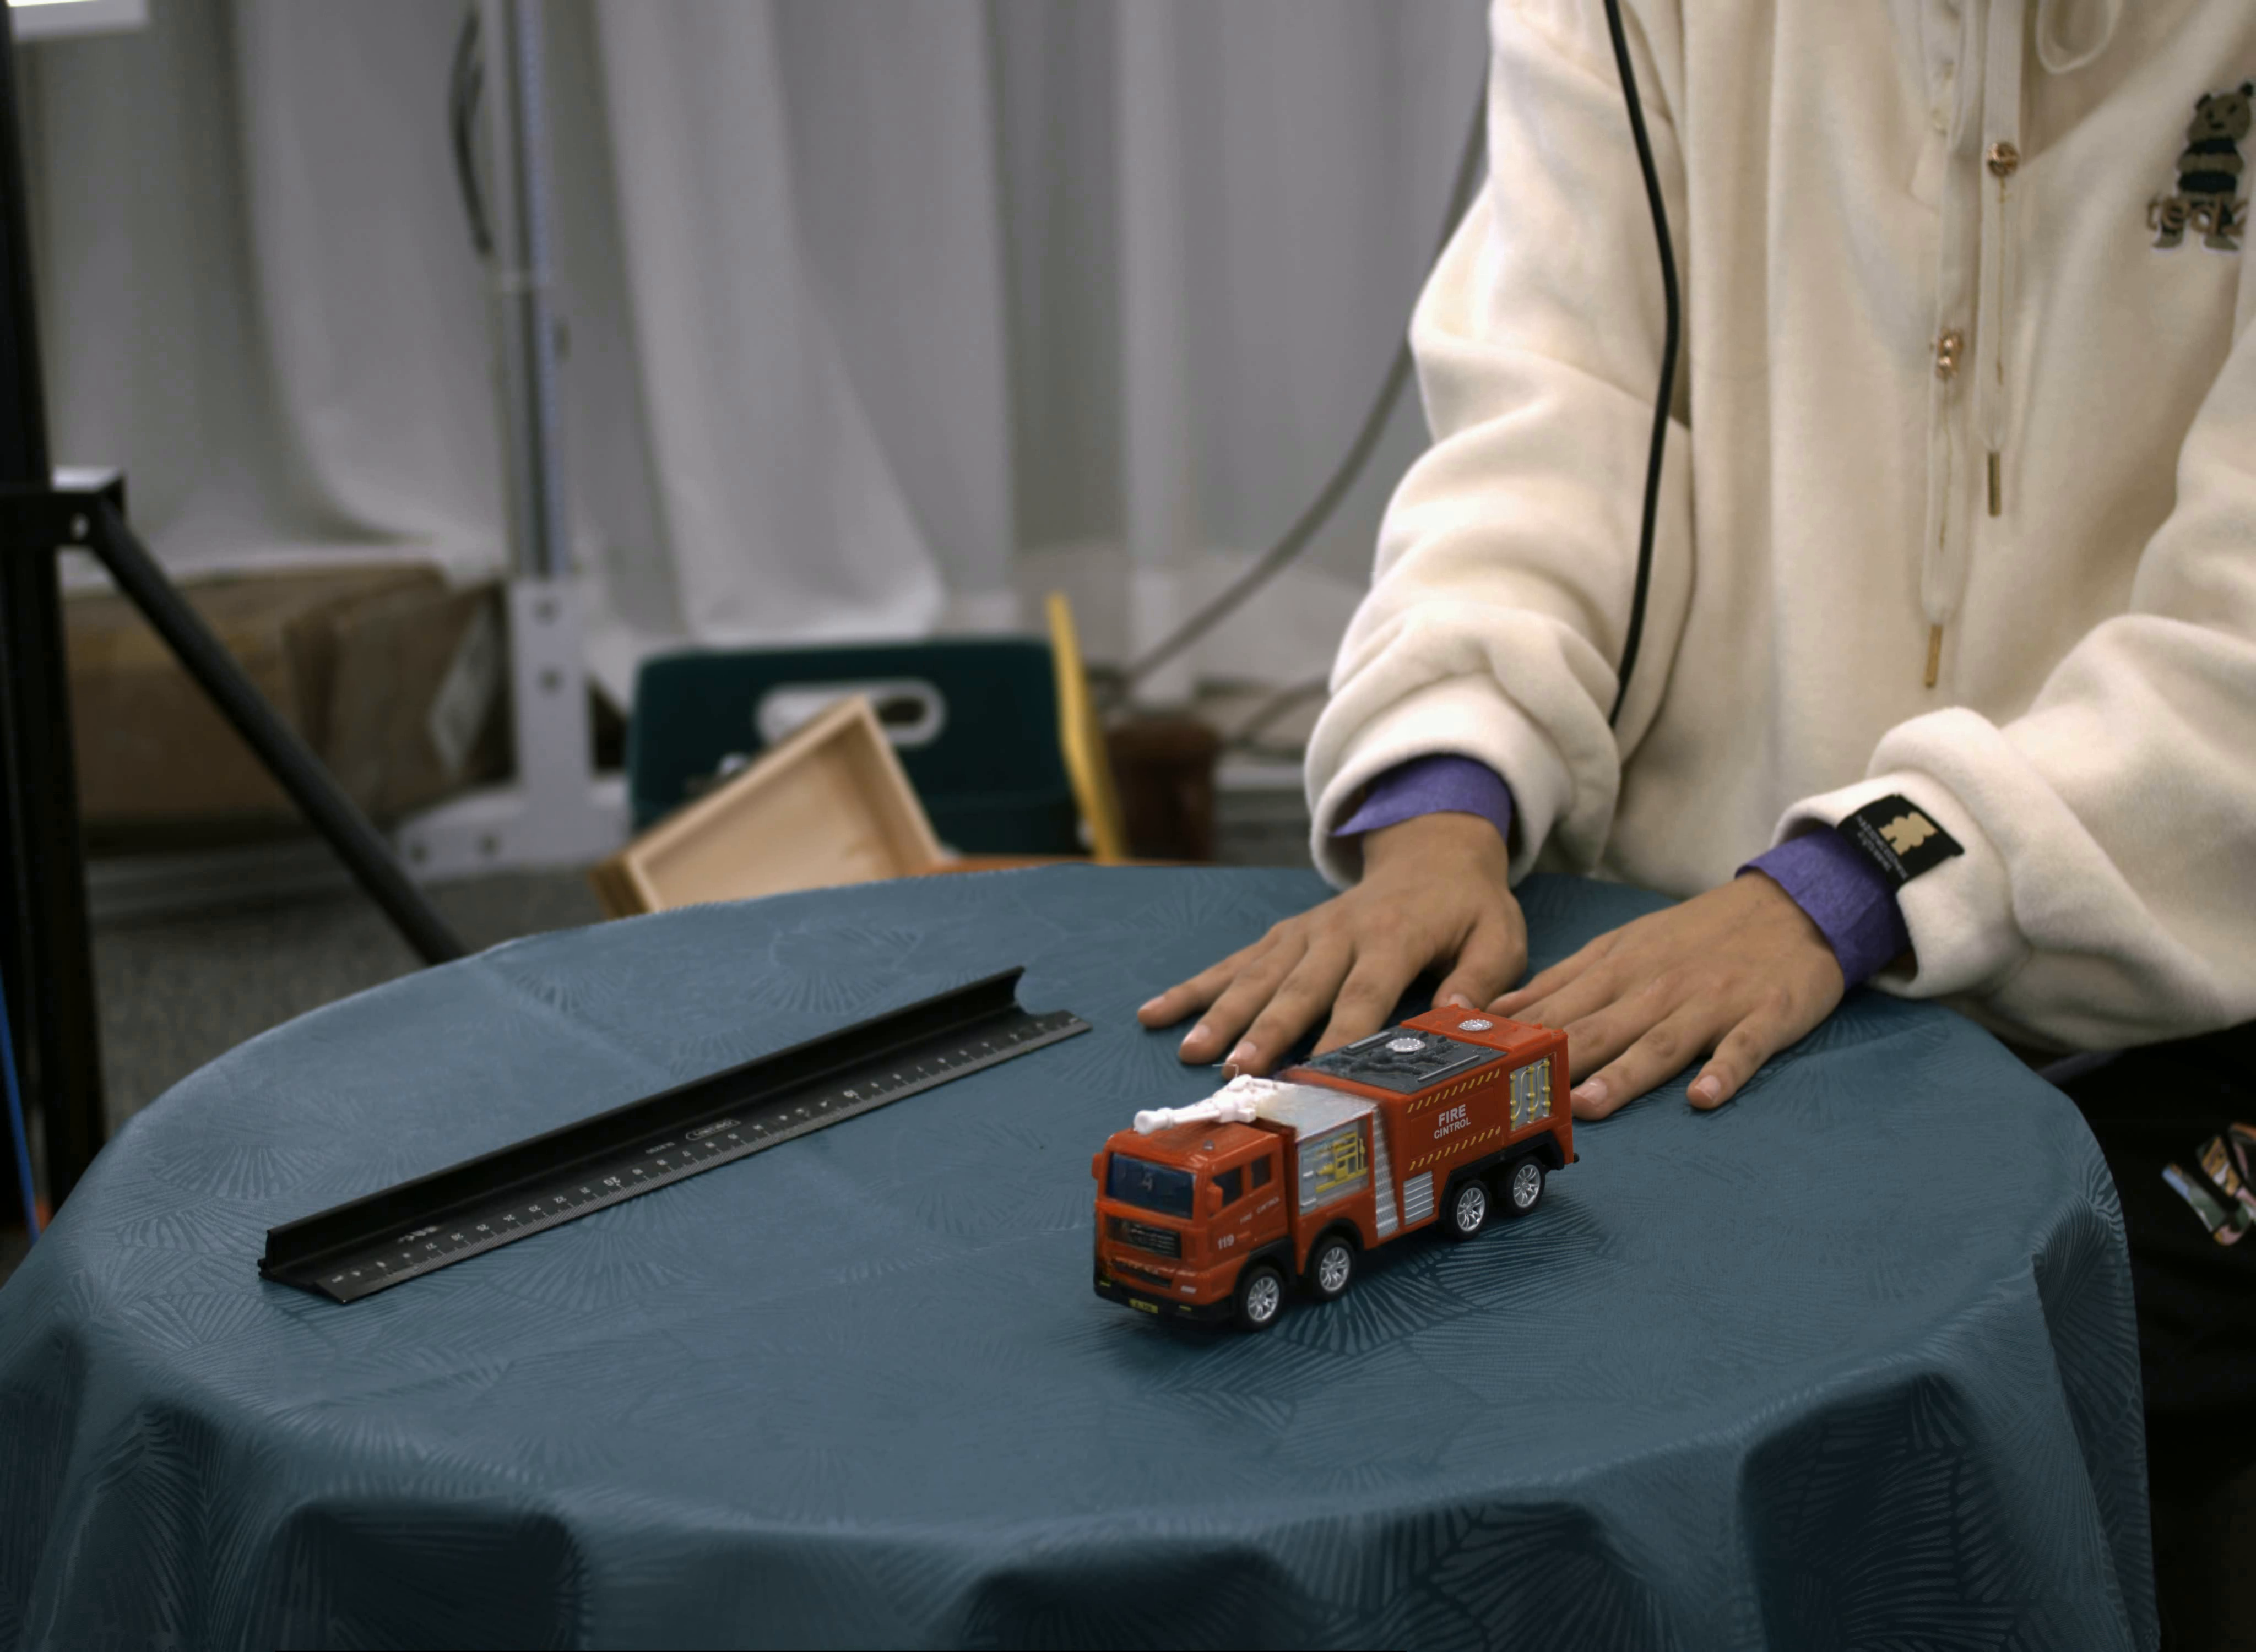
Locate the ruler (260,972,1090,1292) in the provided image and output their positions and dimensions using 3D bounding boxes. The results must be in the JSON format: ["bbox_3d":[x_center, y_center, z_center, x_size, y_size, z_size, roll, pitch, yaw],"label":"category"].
[{"bbox_3d":[-0.130,0.090,1.614,0.040,0.017,0.305,17,24,42],"label":"ruler"}]

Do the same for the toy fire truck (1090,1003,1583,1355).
[{"bbox_3d":[0.059,0.096,1.485,0.055,0.070,0.164,12,20,43],"label":"toy fire truck"}]
